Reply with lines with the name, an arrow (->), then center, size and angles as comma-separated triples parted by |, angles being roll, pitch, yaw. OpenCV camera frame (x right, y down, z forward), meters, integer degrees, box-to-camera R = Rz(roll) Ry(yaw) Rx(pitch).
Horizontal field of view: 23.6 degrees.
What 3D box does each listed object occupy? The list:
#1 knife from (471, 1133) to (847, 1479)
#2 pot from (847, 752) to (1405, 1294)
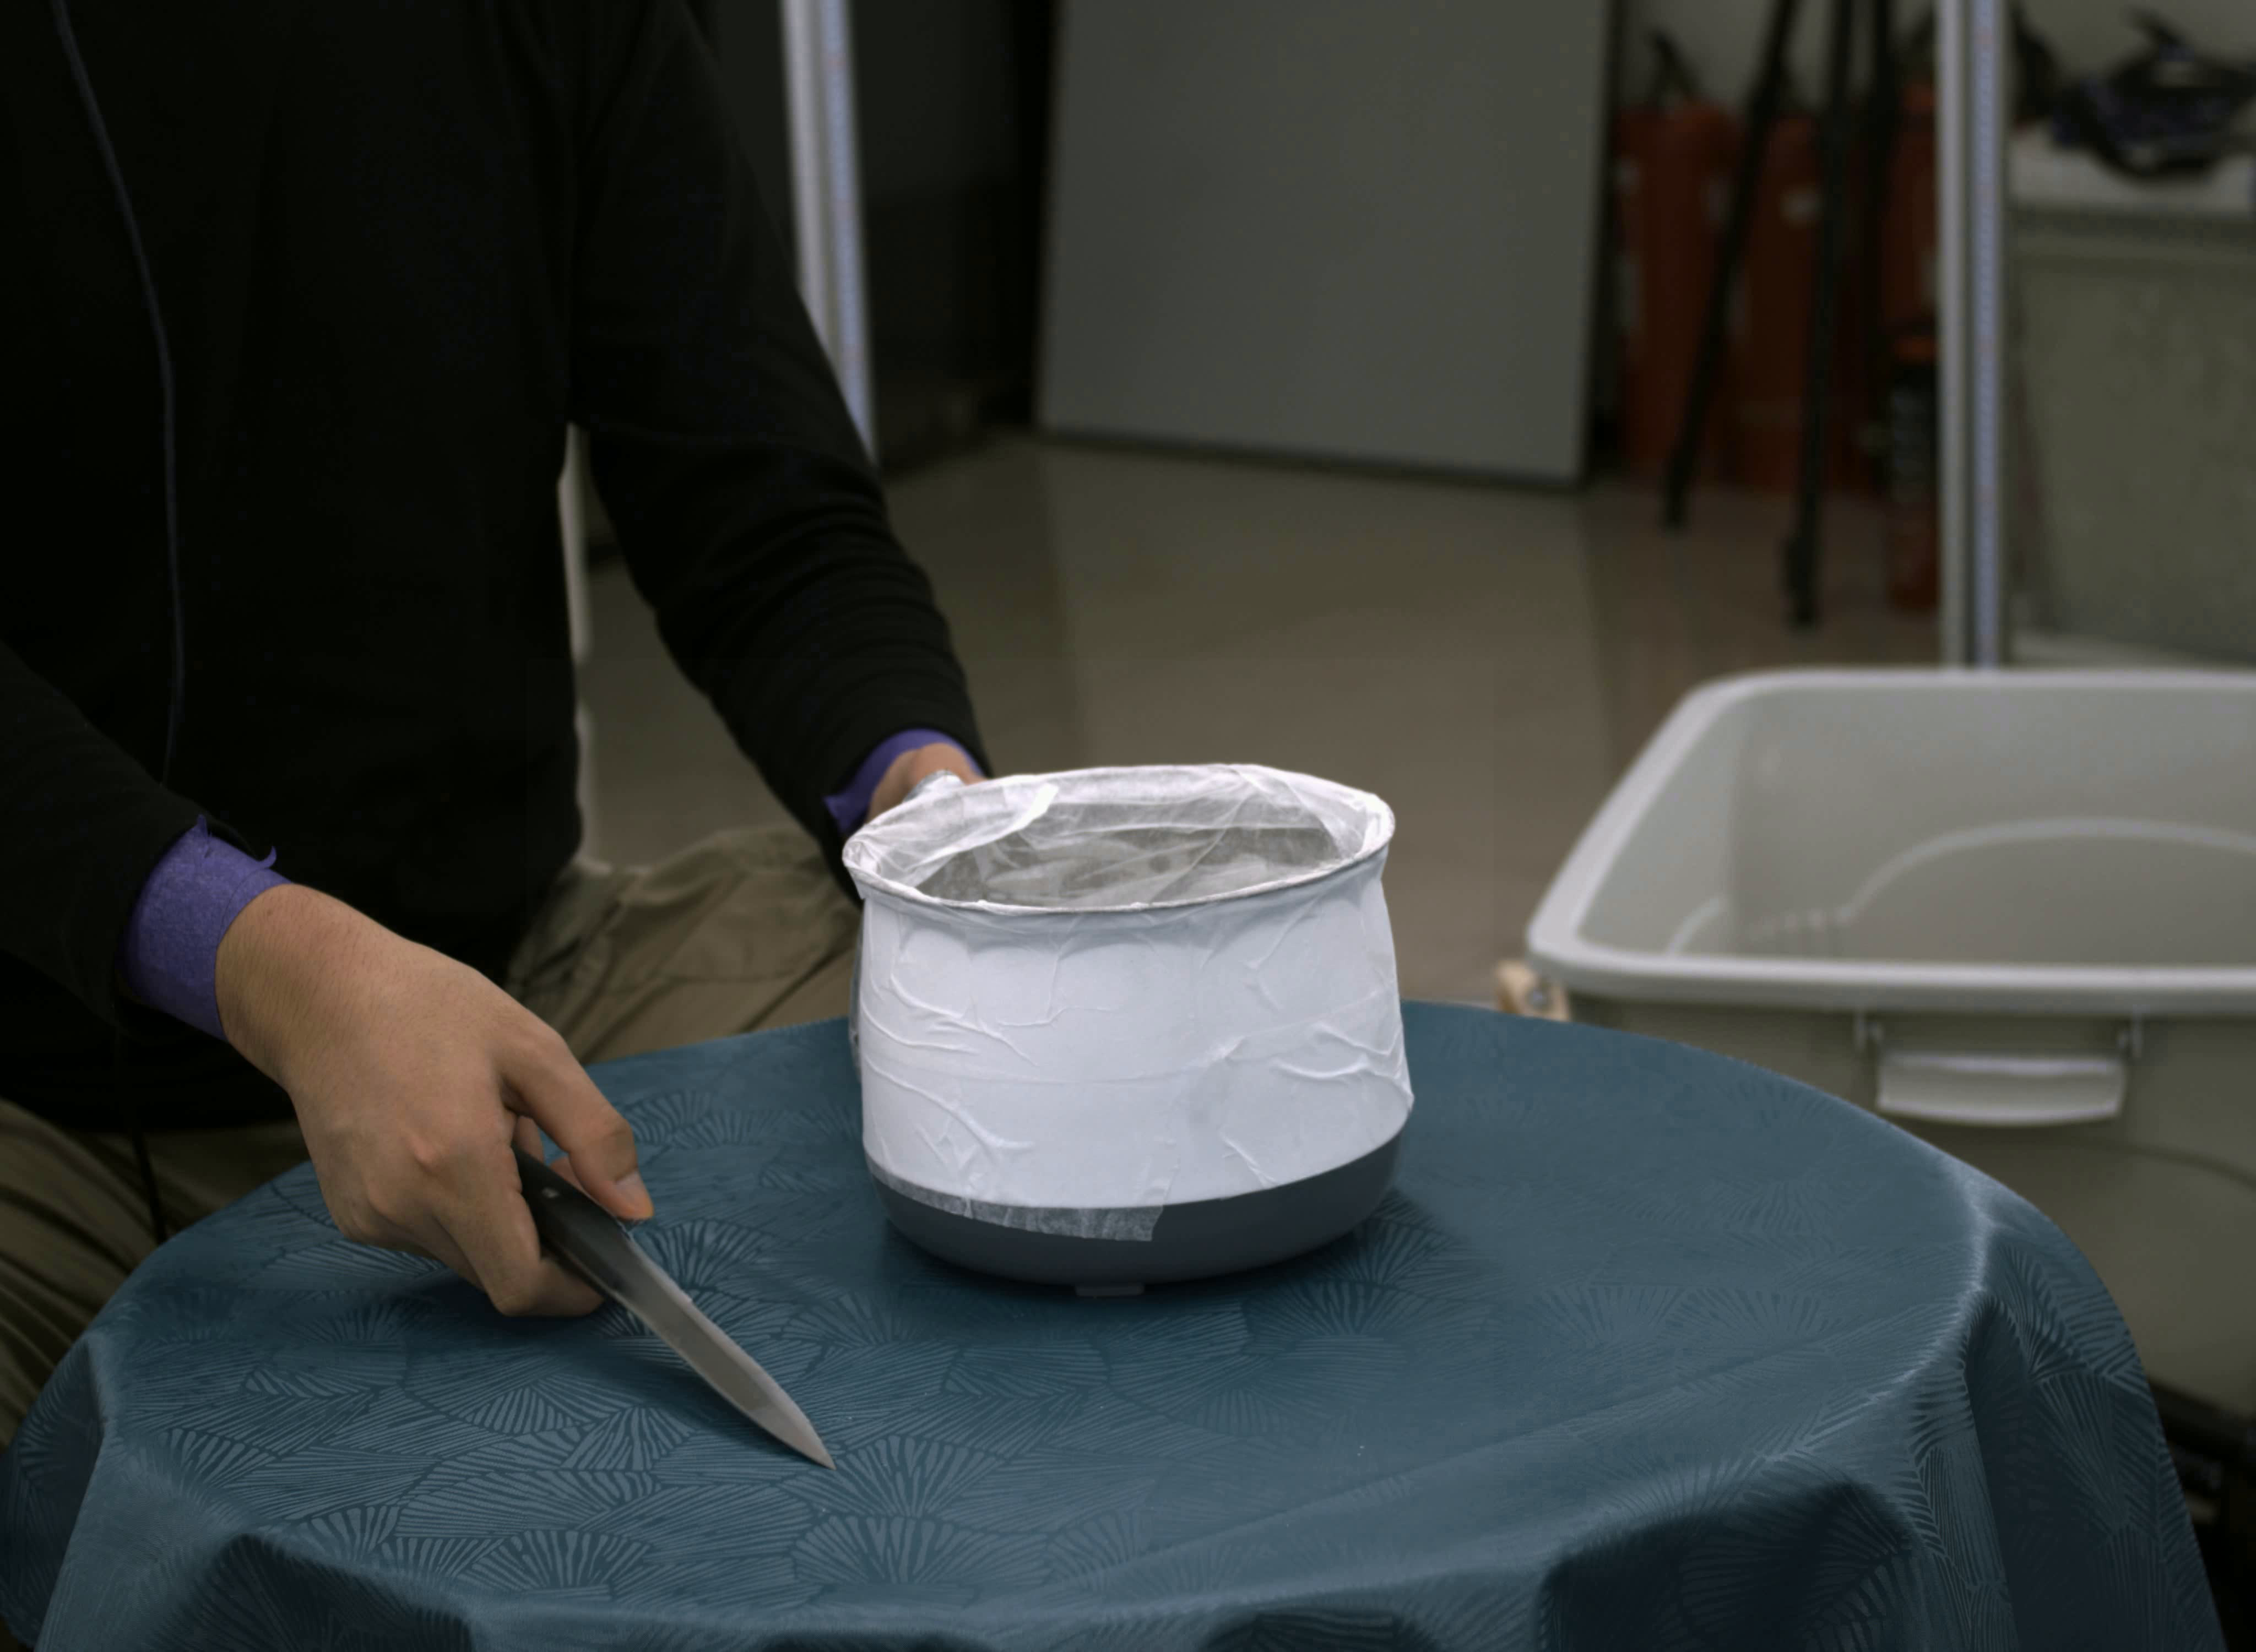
knife -> -0.145, 0.144, 1.637 | 0.024, 0.016, 0.241 | 11, 14, -36
pot -> -0.016, 0.056, 1.743 | 0.175, 0.138, 0.236 | -13, 17, -35
